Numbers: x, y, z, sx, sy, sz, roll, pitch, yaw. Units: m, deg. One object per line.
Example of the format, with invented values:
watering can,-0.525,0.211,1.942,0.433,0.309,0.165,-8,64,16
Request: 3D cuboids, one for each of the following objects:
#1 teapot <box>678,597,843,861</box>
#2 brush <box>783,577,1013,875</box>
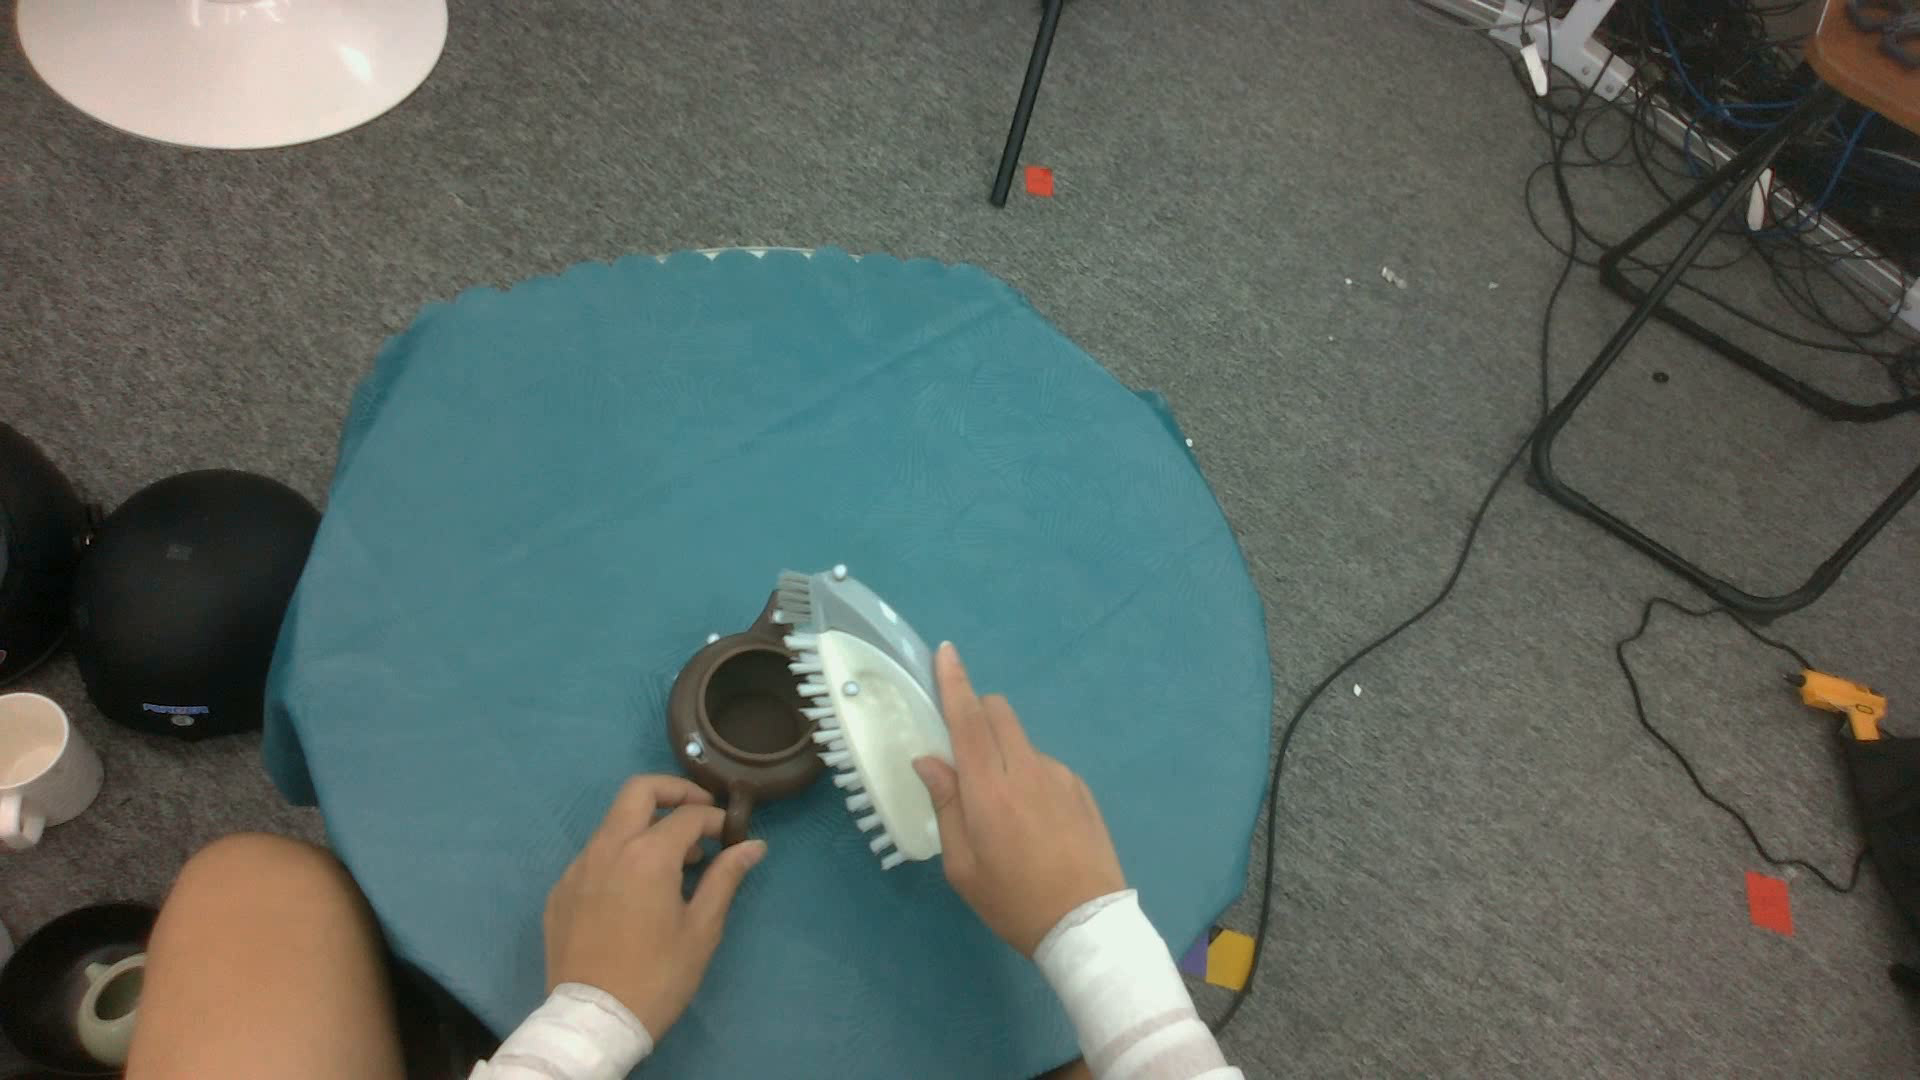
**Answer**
teapot,-0.110,0.110,0.794,0.103,0.053,0.154,3,58,-9
brush,-0.031,0.092,0.751,0.062,0.094,0.175,-31,94,-49
